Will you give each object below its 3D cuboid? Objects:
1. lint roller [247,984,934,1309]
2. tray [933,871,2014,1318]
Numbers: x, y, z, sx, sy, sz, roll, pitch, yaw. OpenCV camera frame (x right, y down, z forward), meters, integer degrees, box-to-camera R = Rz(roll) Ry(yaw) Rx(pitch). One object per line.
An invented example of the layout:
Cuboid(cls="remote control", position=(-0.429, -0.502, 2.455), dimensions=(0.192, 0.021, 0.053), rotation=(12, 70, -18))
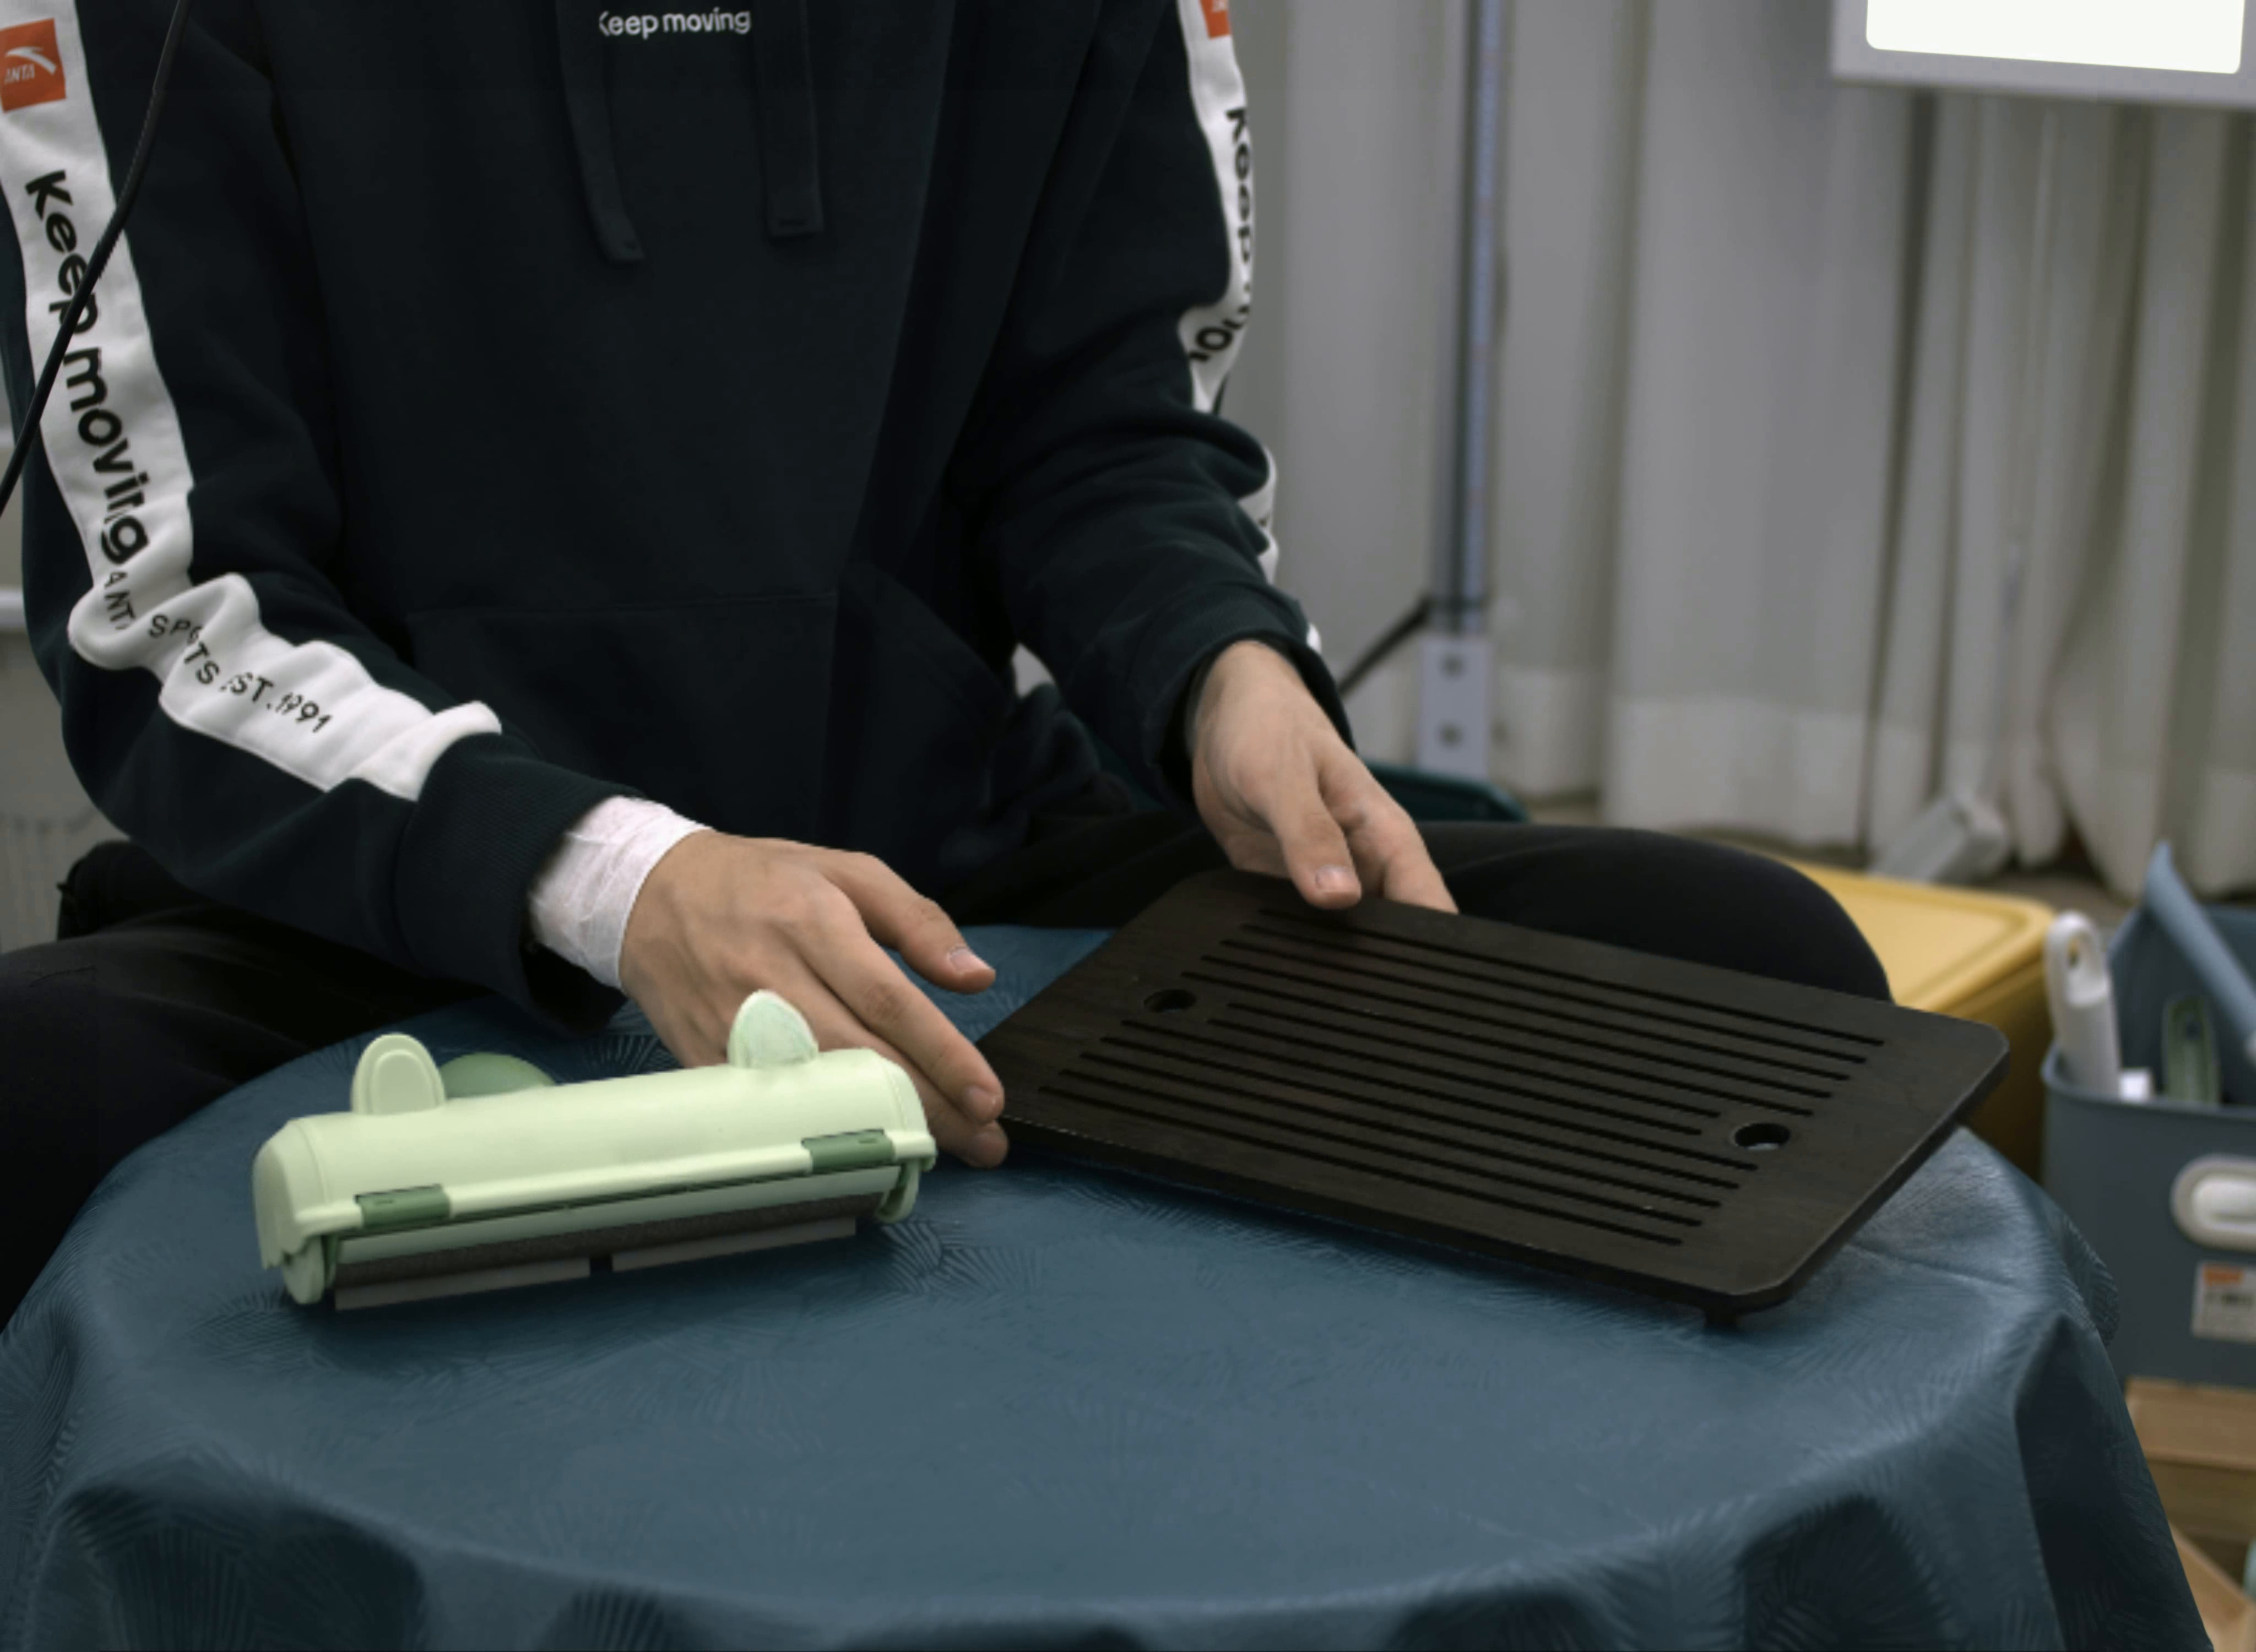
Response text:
Cuboid(cls="lint roller", position=(-0.179, 0.079, 1.586), dimensions=(0.199, 0.083, 0.181), rotation=(-6, 20, -23))
Cuboid(cls="tray", position=(0.105, 0.080, 1.638), dimensions=(0.302, 0.019, 0.170), rotation=(11, 31, 32))
